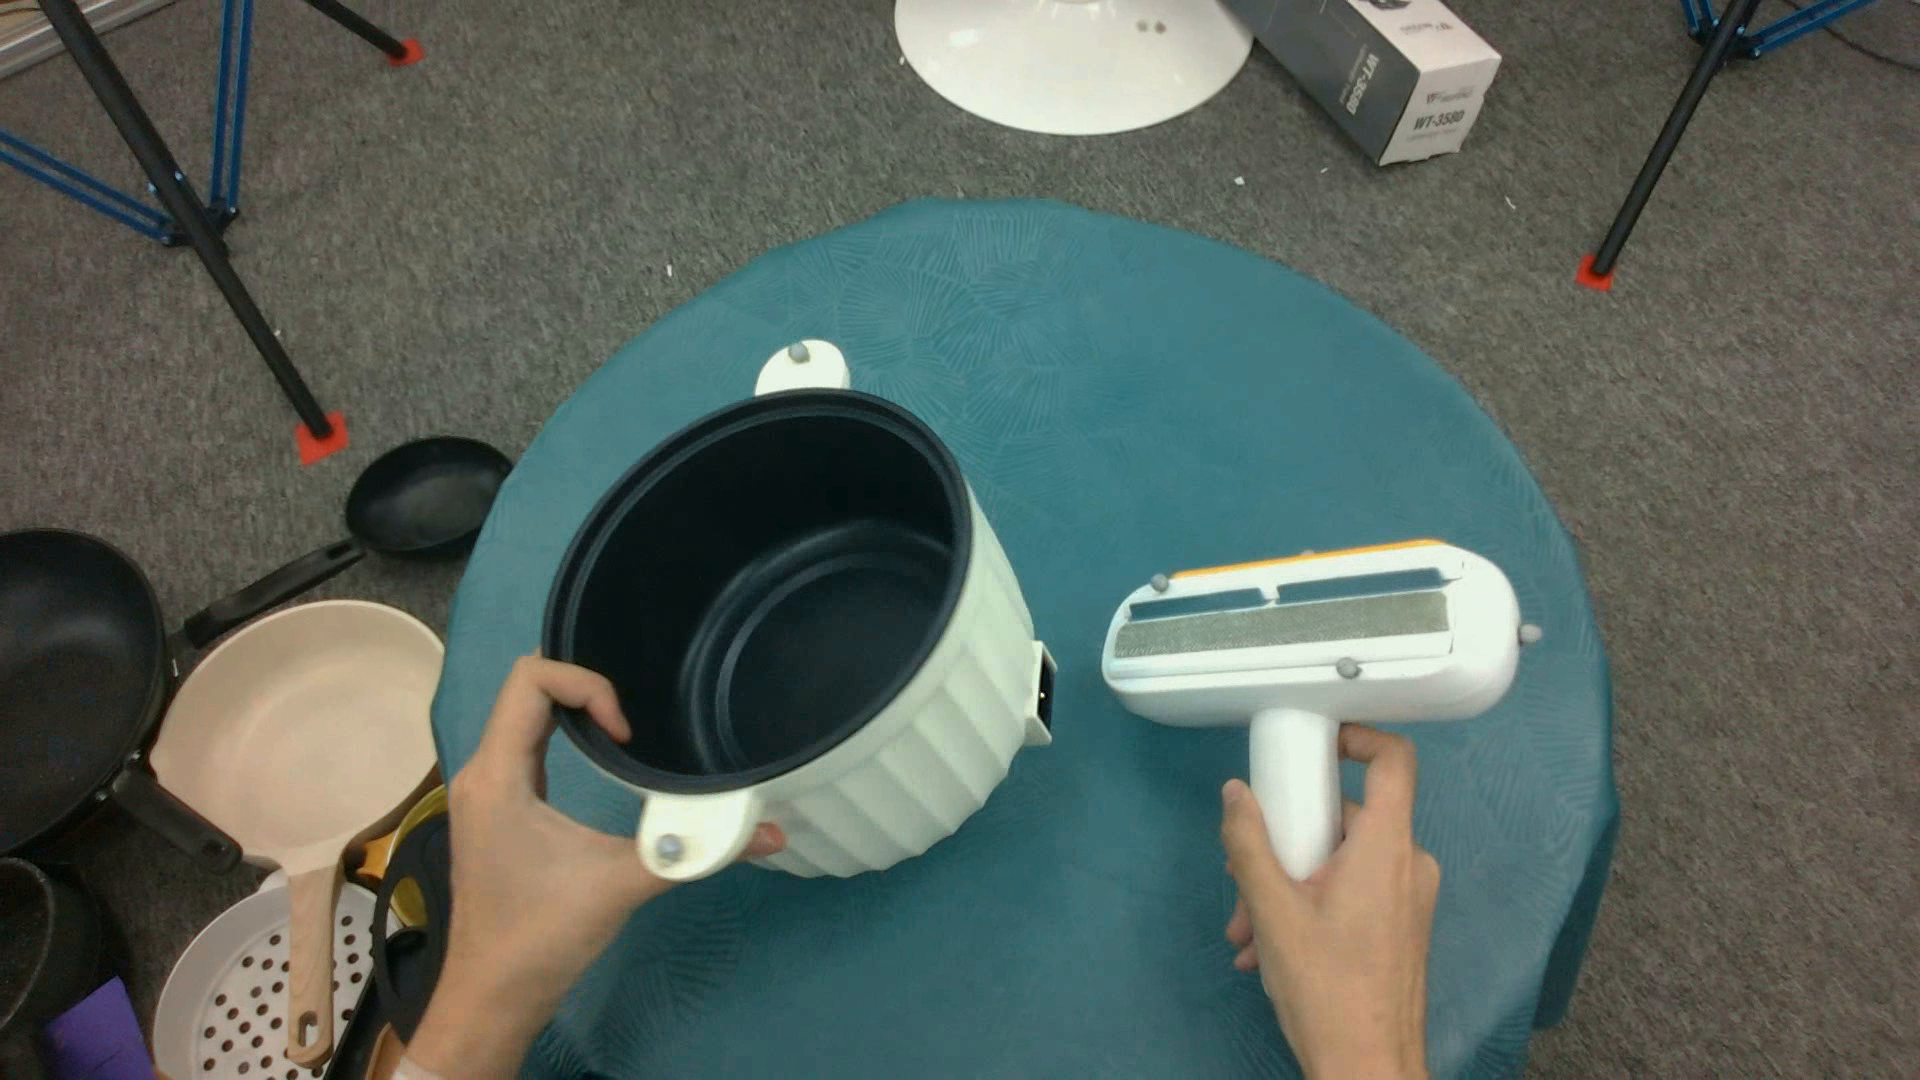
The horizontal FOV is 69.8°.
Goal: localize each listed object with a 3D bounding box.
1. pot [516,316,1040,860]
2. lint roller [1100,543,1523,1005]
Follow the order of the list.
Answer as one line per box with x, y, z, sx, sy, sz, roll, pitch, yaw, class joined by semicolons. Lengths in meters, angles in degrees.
-0.074;0.039;0.579;0.190;0.142;0.241;-3;55;19;pot
0.137;0.096;0.585;0.192;0.074;0.193;-1;68;42;lint roller
